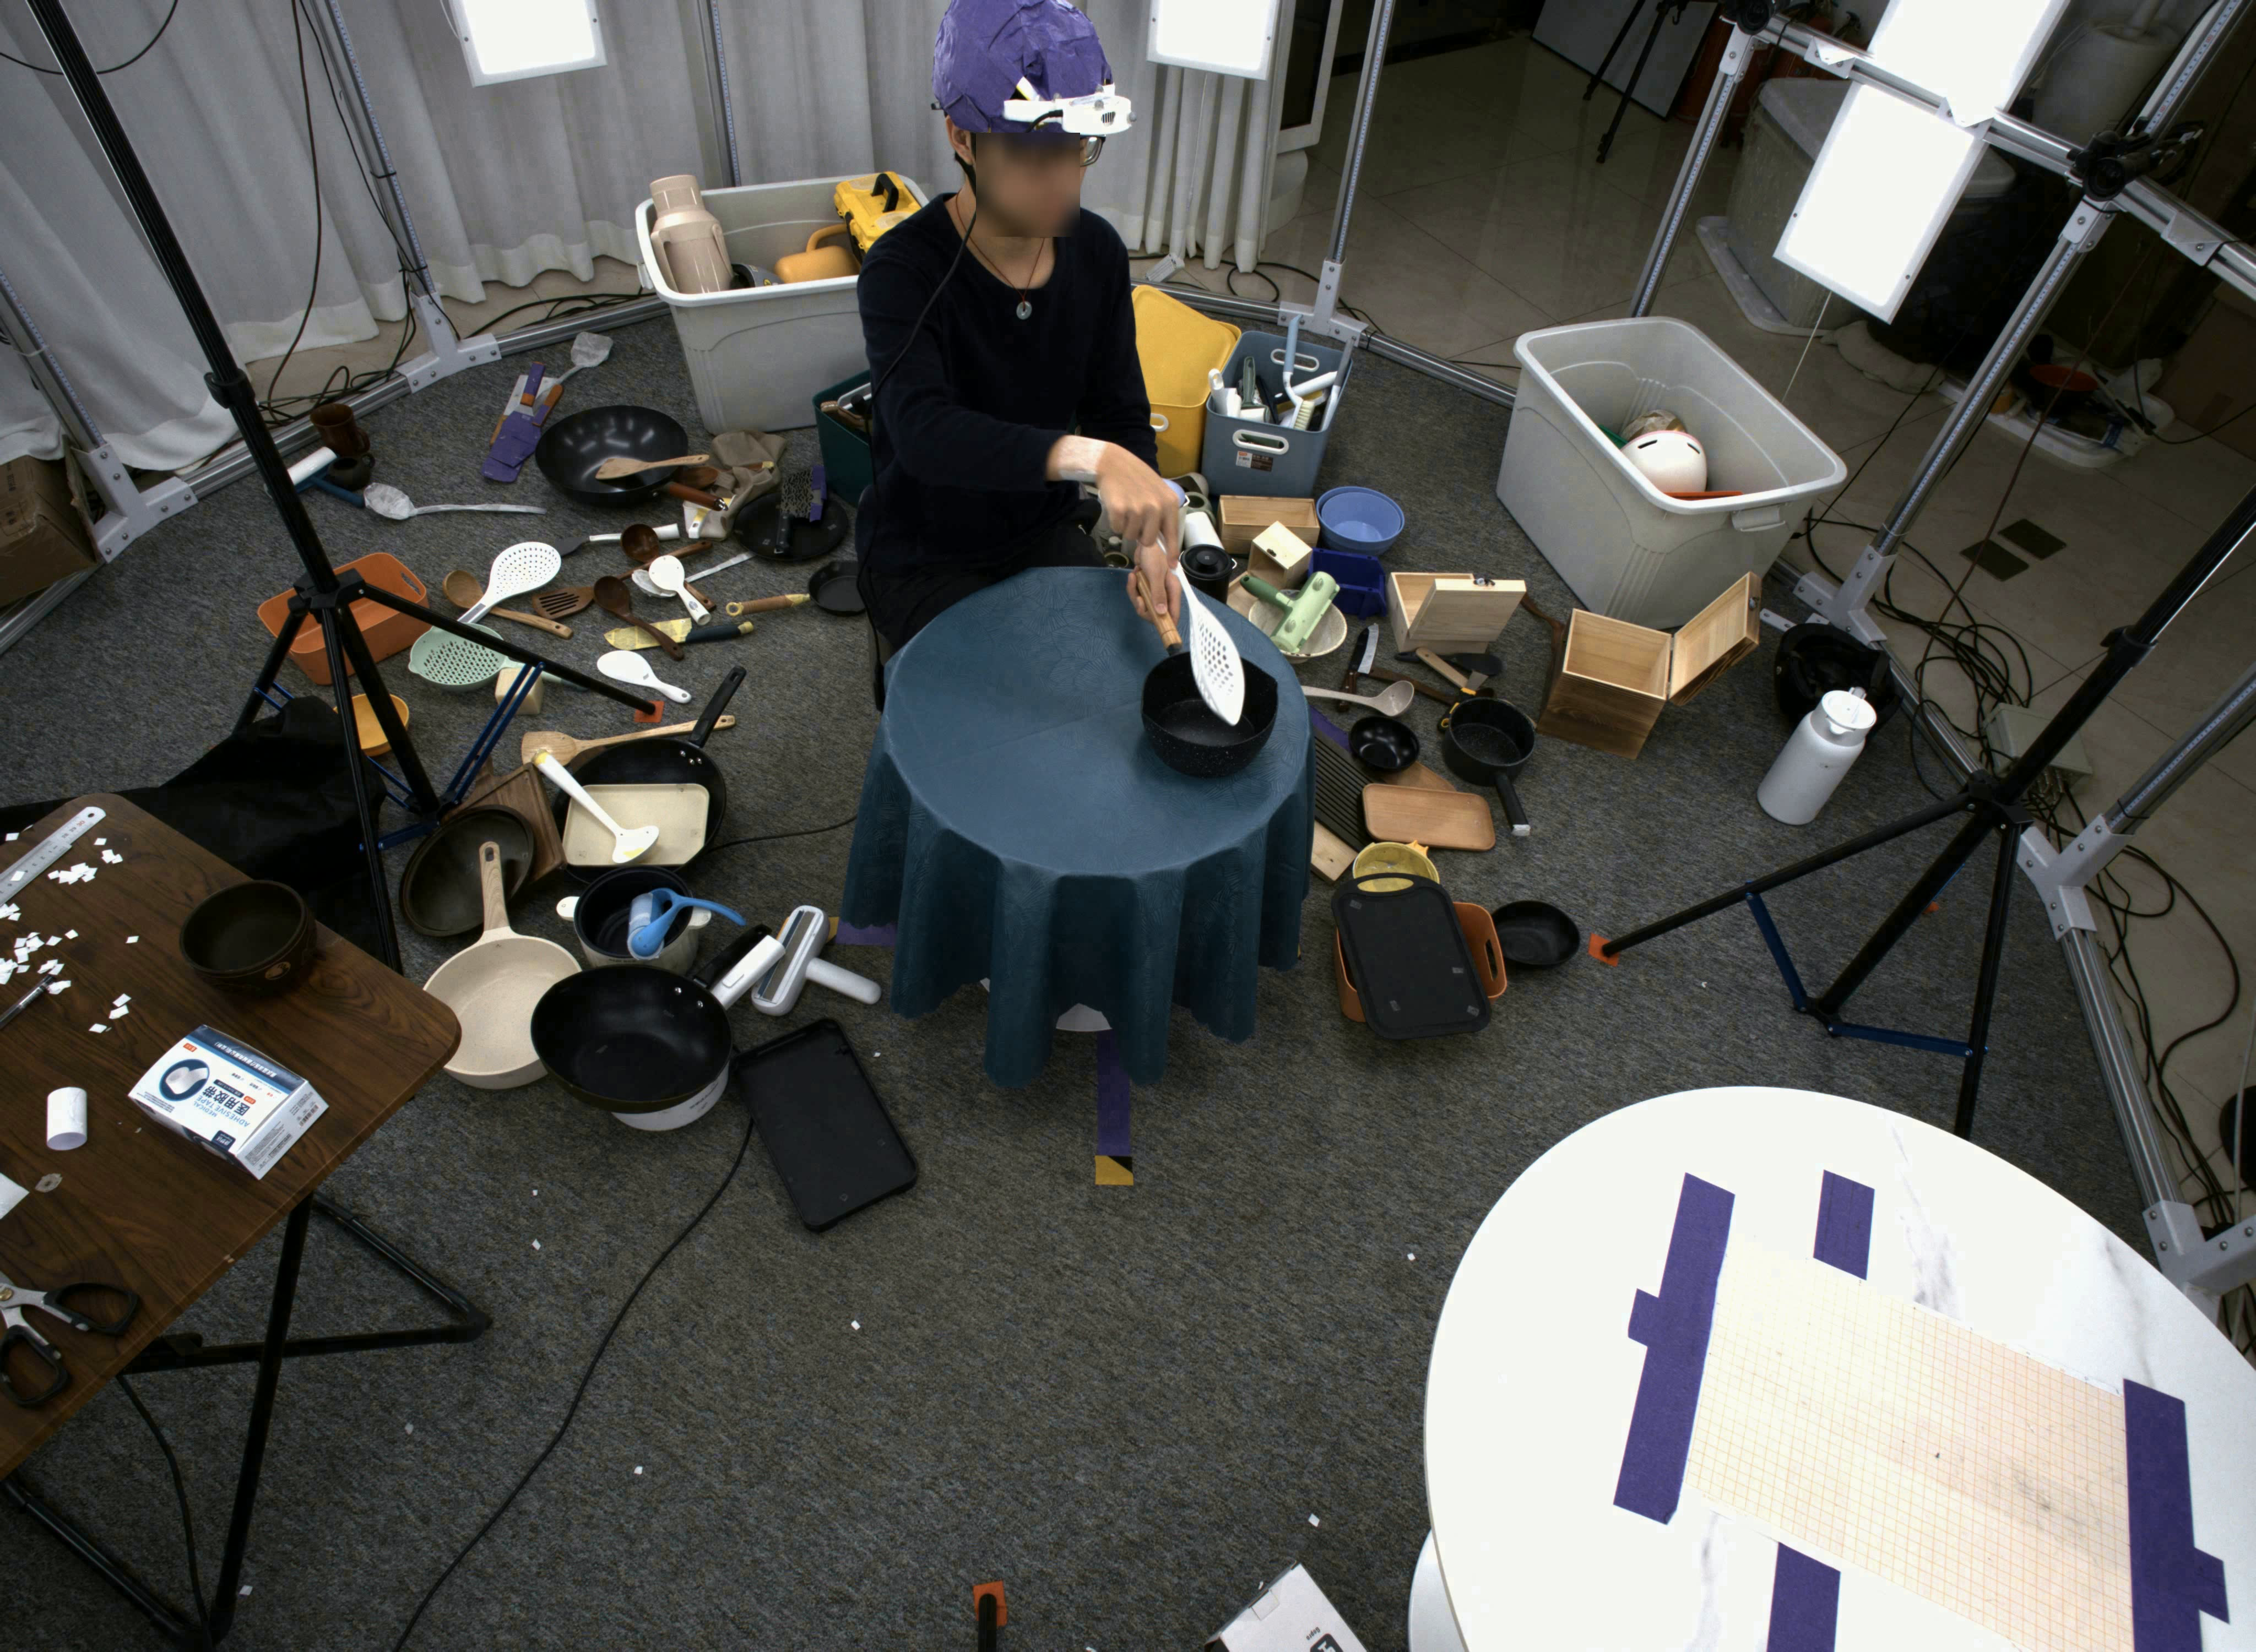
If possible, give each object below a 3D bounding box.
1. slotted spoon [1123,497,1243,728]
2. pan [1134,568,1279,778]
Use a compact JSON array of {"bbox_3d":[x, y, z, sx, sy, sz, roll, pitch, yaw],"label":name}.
[{"bbox_3d":[0.073,-0.272,1.618,0.050,0.340,0.140,-7,41,21],"label":"slotted spoon"},{"bbox_3d":[0.077,-0.213,1.789,0.207,0.105,0.351,-16,53,-16],"label":"pan"}]
